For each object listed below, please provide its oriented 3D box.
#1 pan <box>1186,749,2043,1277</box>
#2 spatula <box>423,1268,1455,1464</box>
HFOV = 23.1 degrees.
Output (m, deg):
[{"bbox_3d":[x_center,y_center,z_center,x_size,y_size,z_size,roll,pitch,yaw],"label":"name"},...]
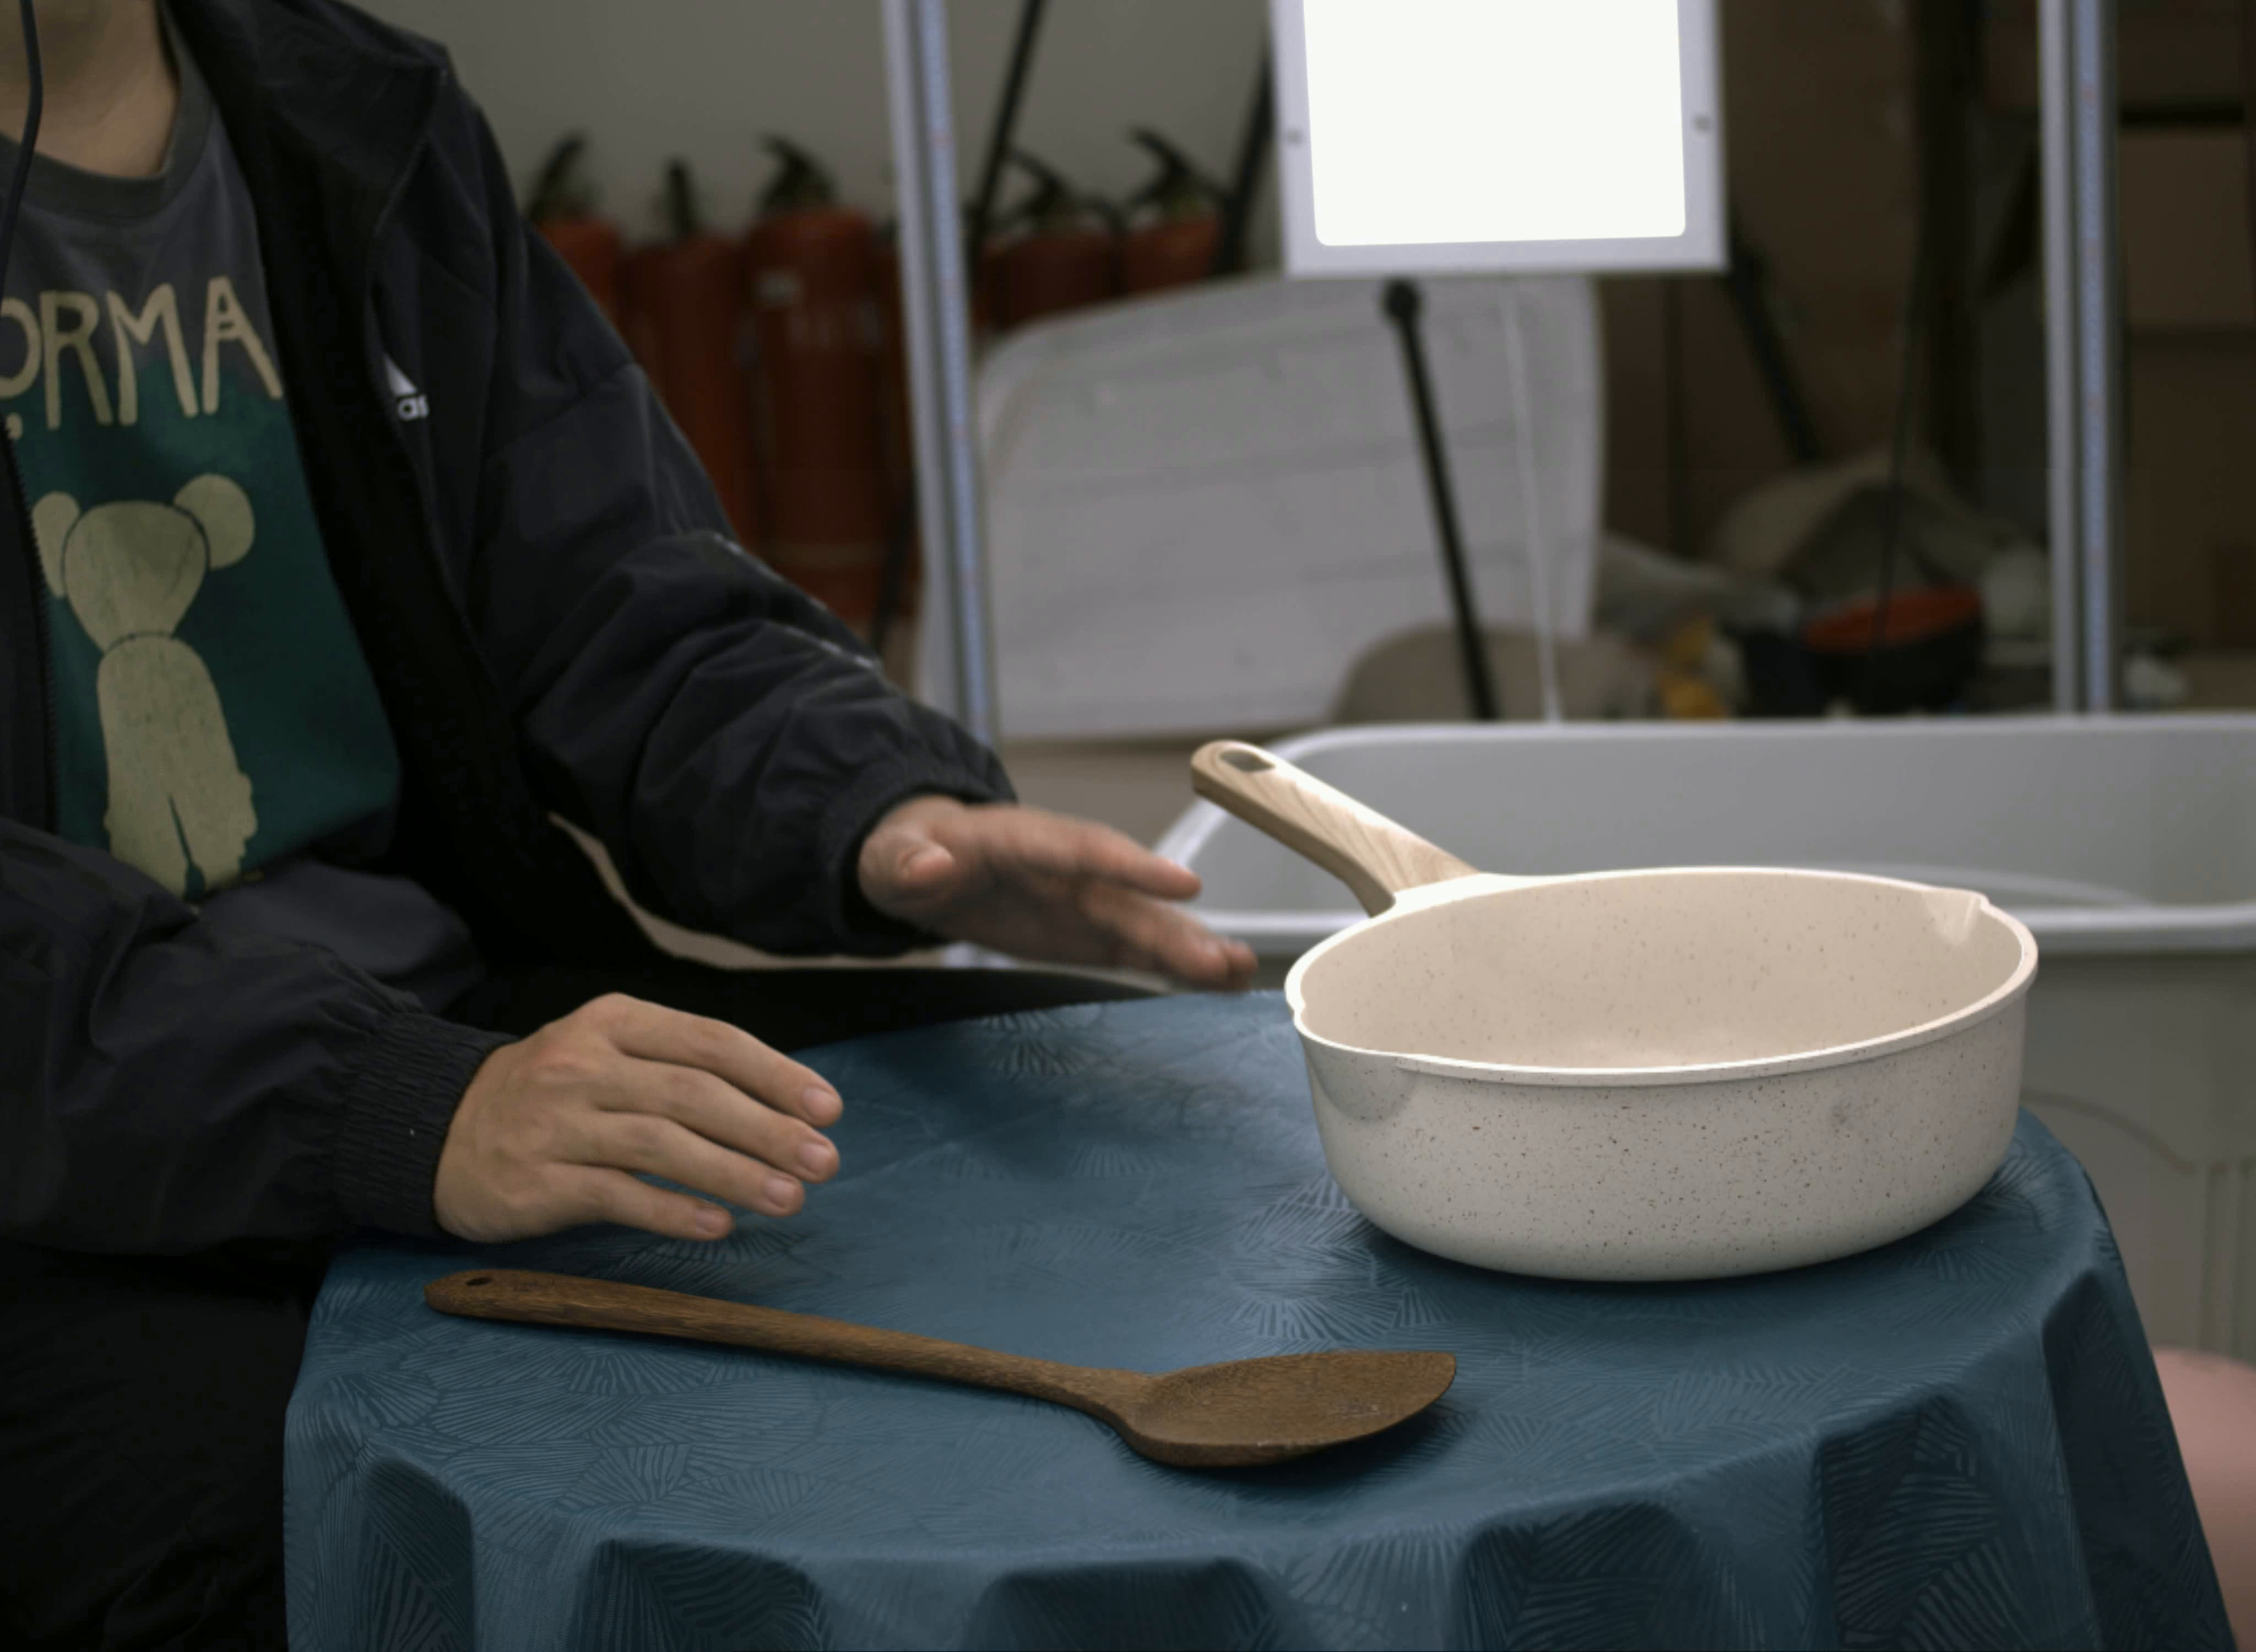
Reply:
[{"bbox_3d":[0.141,0.057,1.914,0.258,0.102,0.442,-14,16,-24],"label":"pan"},{"bbox_3d":[-0.075,0.165,1.736,0.394,0.016,0.094,4,16,35],"label":"spatula"}]
